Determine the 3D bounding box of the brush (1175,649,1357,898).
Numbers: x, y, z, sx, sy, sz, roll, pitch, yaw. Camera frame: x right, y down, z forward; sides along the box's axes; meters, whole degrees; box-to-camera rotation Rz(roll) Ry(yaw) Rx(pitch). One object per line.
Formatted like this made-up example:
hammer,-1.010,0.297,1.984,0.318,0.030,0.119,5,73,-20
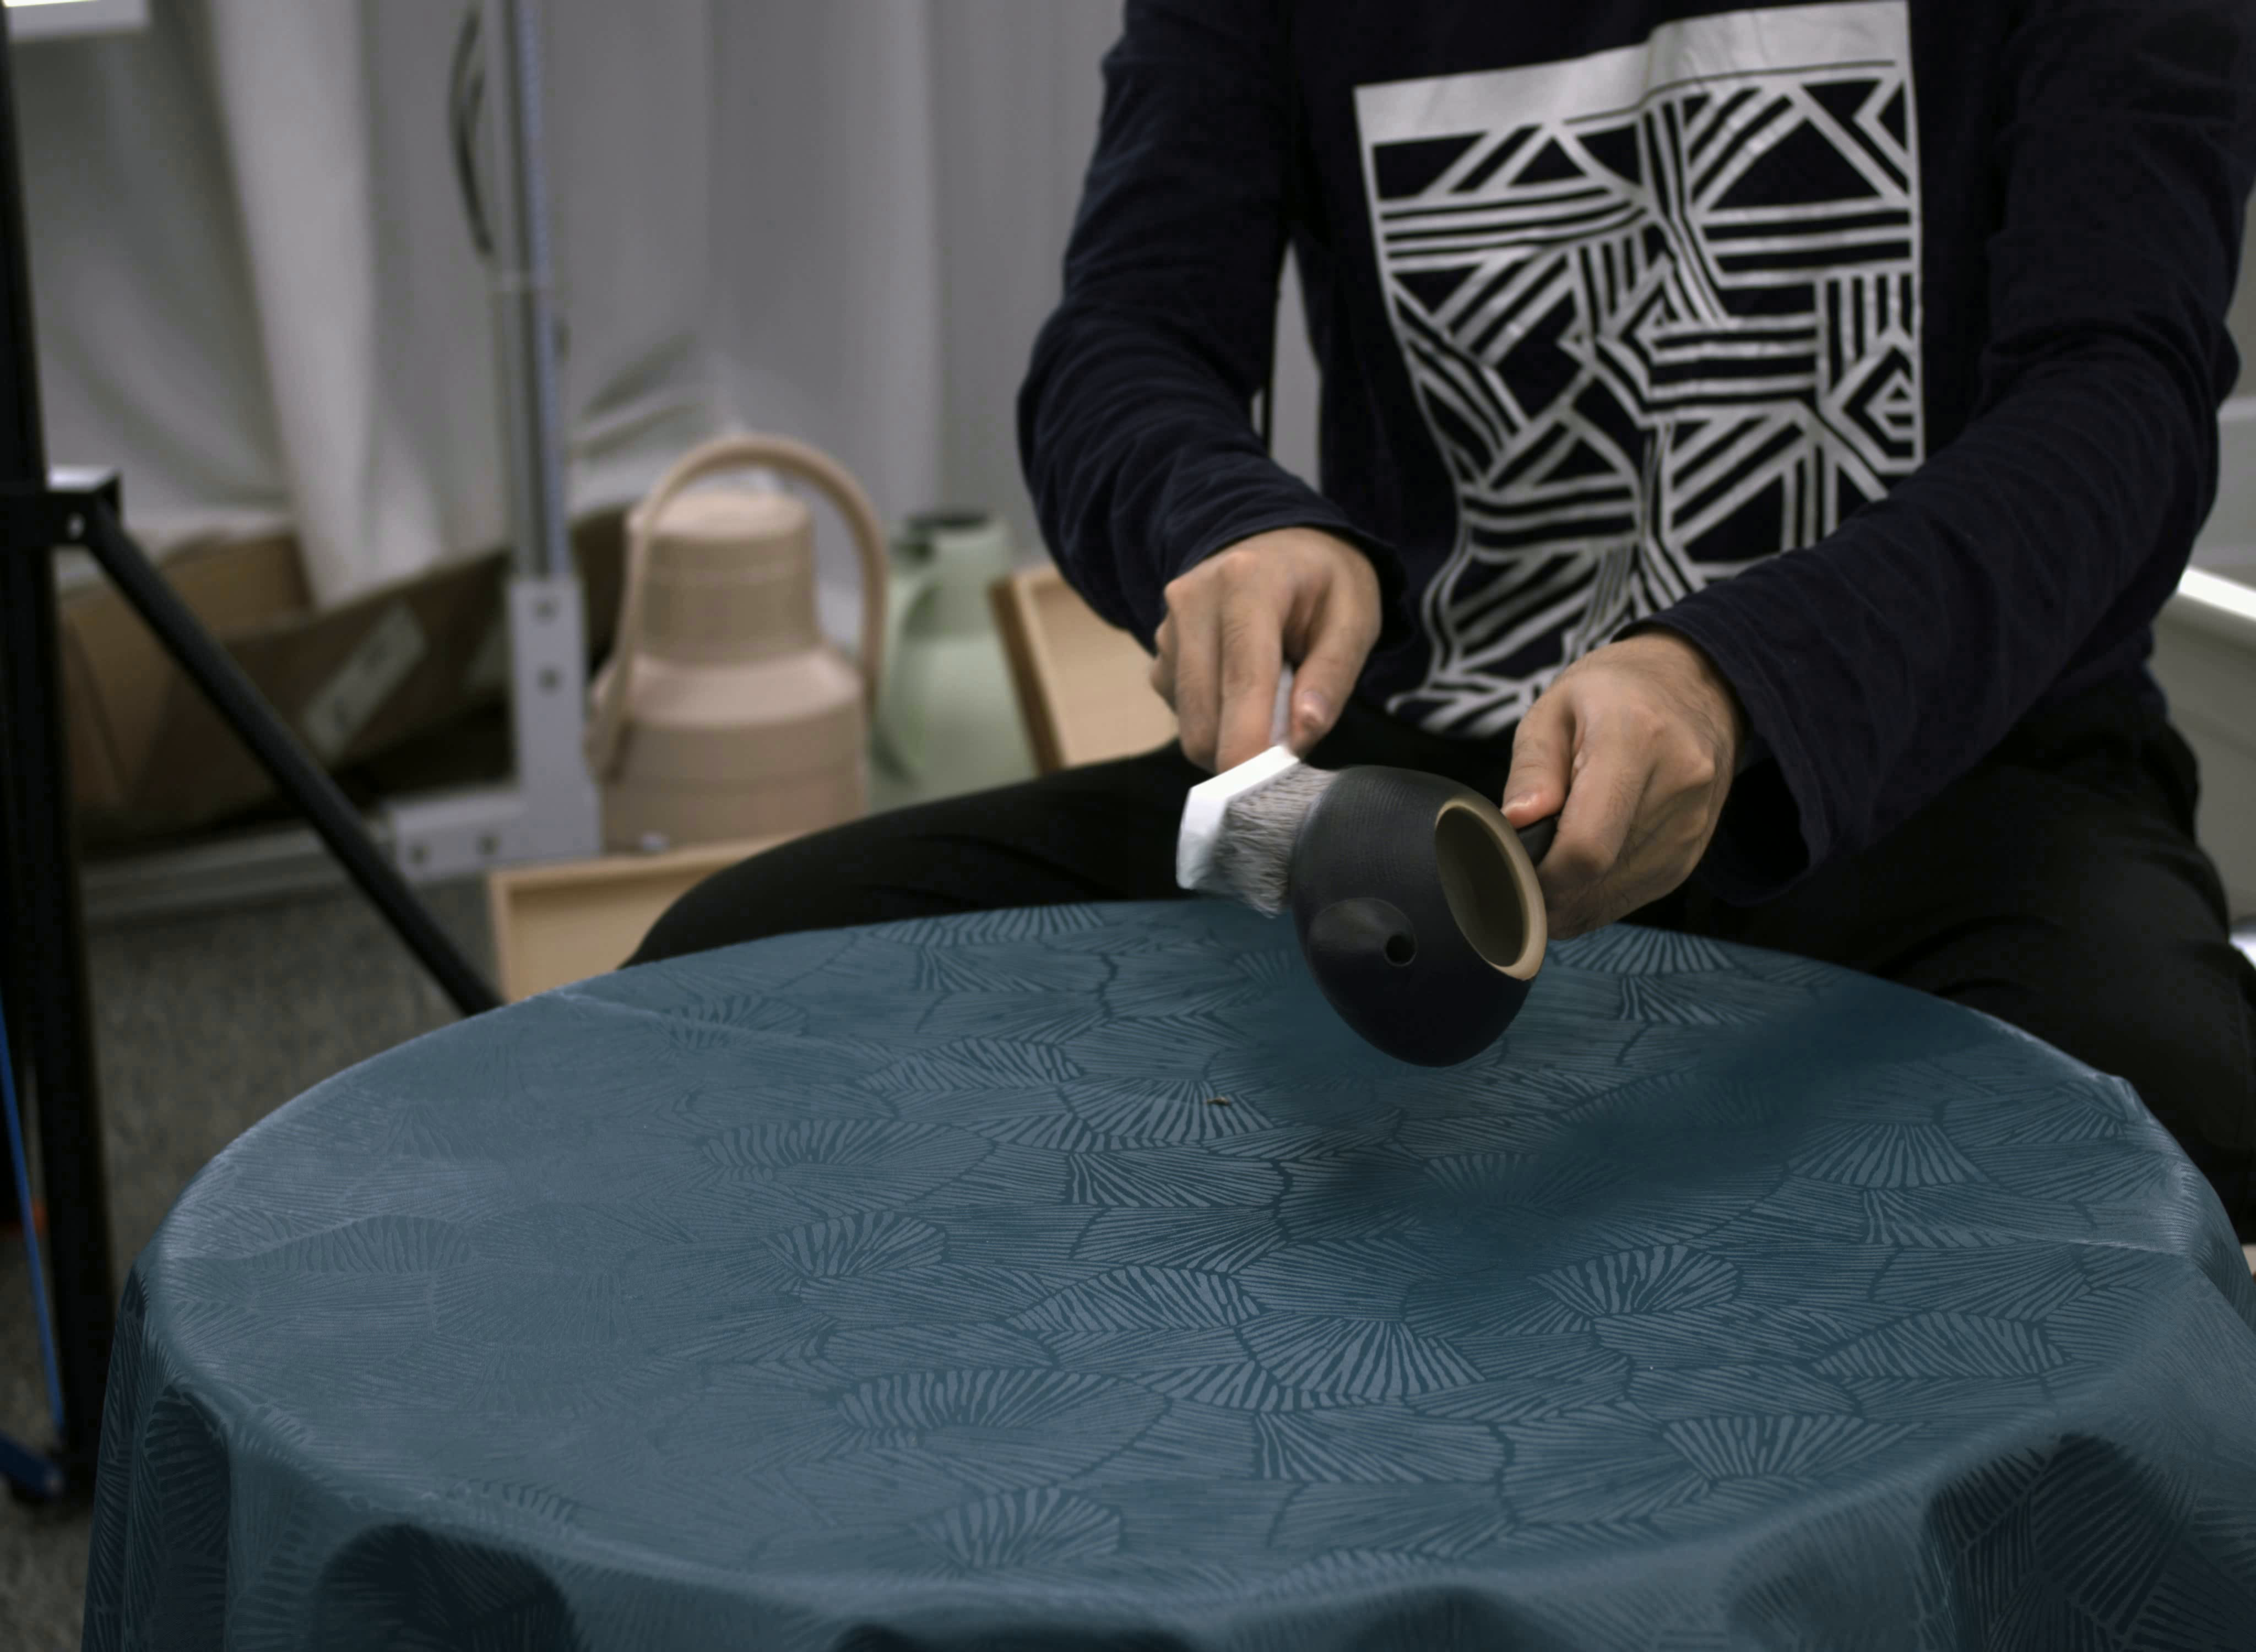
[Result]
brush,0.056,-0.020,1.667,0.050,0.034,0.242,7,14,8

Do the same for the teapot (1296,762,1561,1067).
teapot,0.086,0.025,1.548,0.054,0.091,0.131,-21,7,32
